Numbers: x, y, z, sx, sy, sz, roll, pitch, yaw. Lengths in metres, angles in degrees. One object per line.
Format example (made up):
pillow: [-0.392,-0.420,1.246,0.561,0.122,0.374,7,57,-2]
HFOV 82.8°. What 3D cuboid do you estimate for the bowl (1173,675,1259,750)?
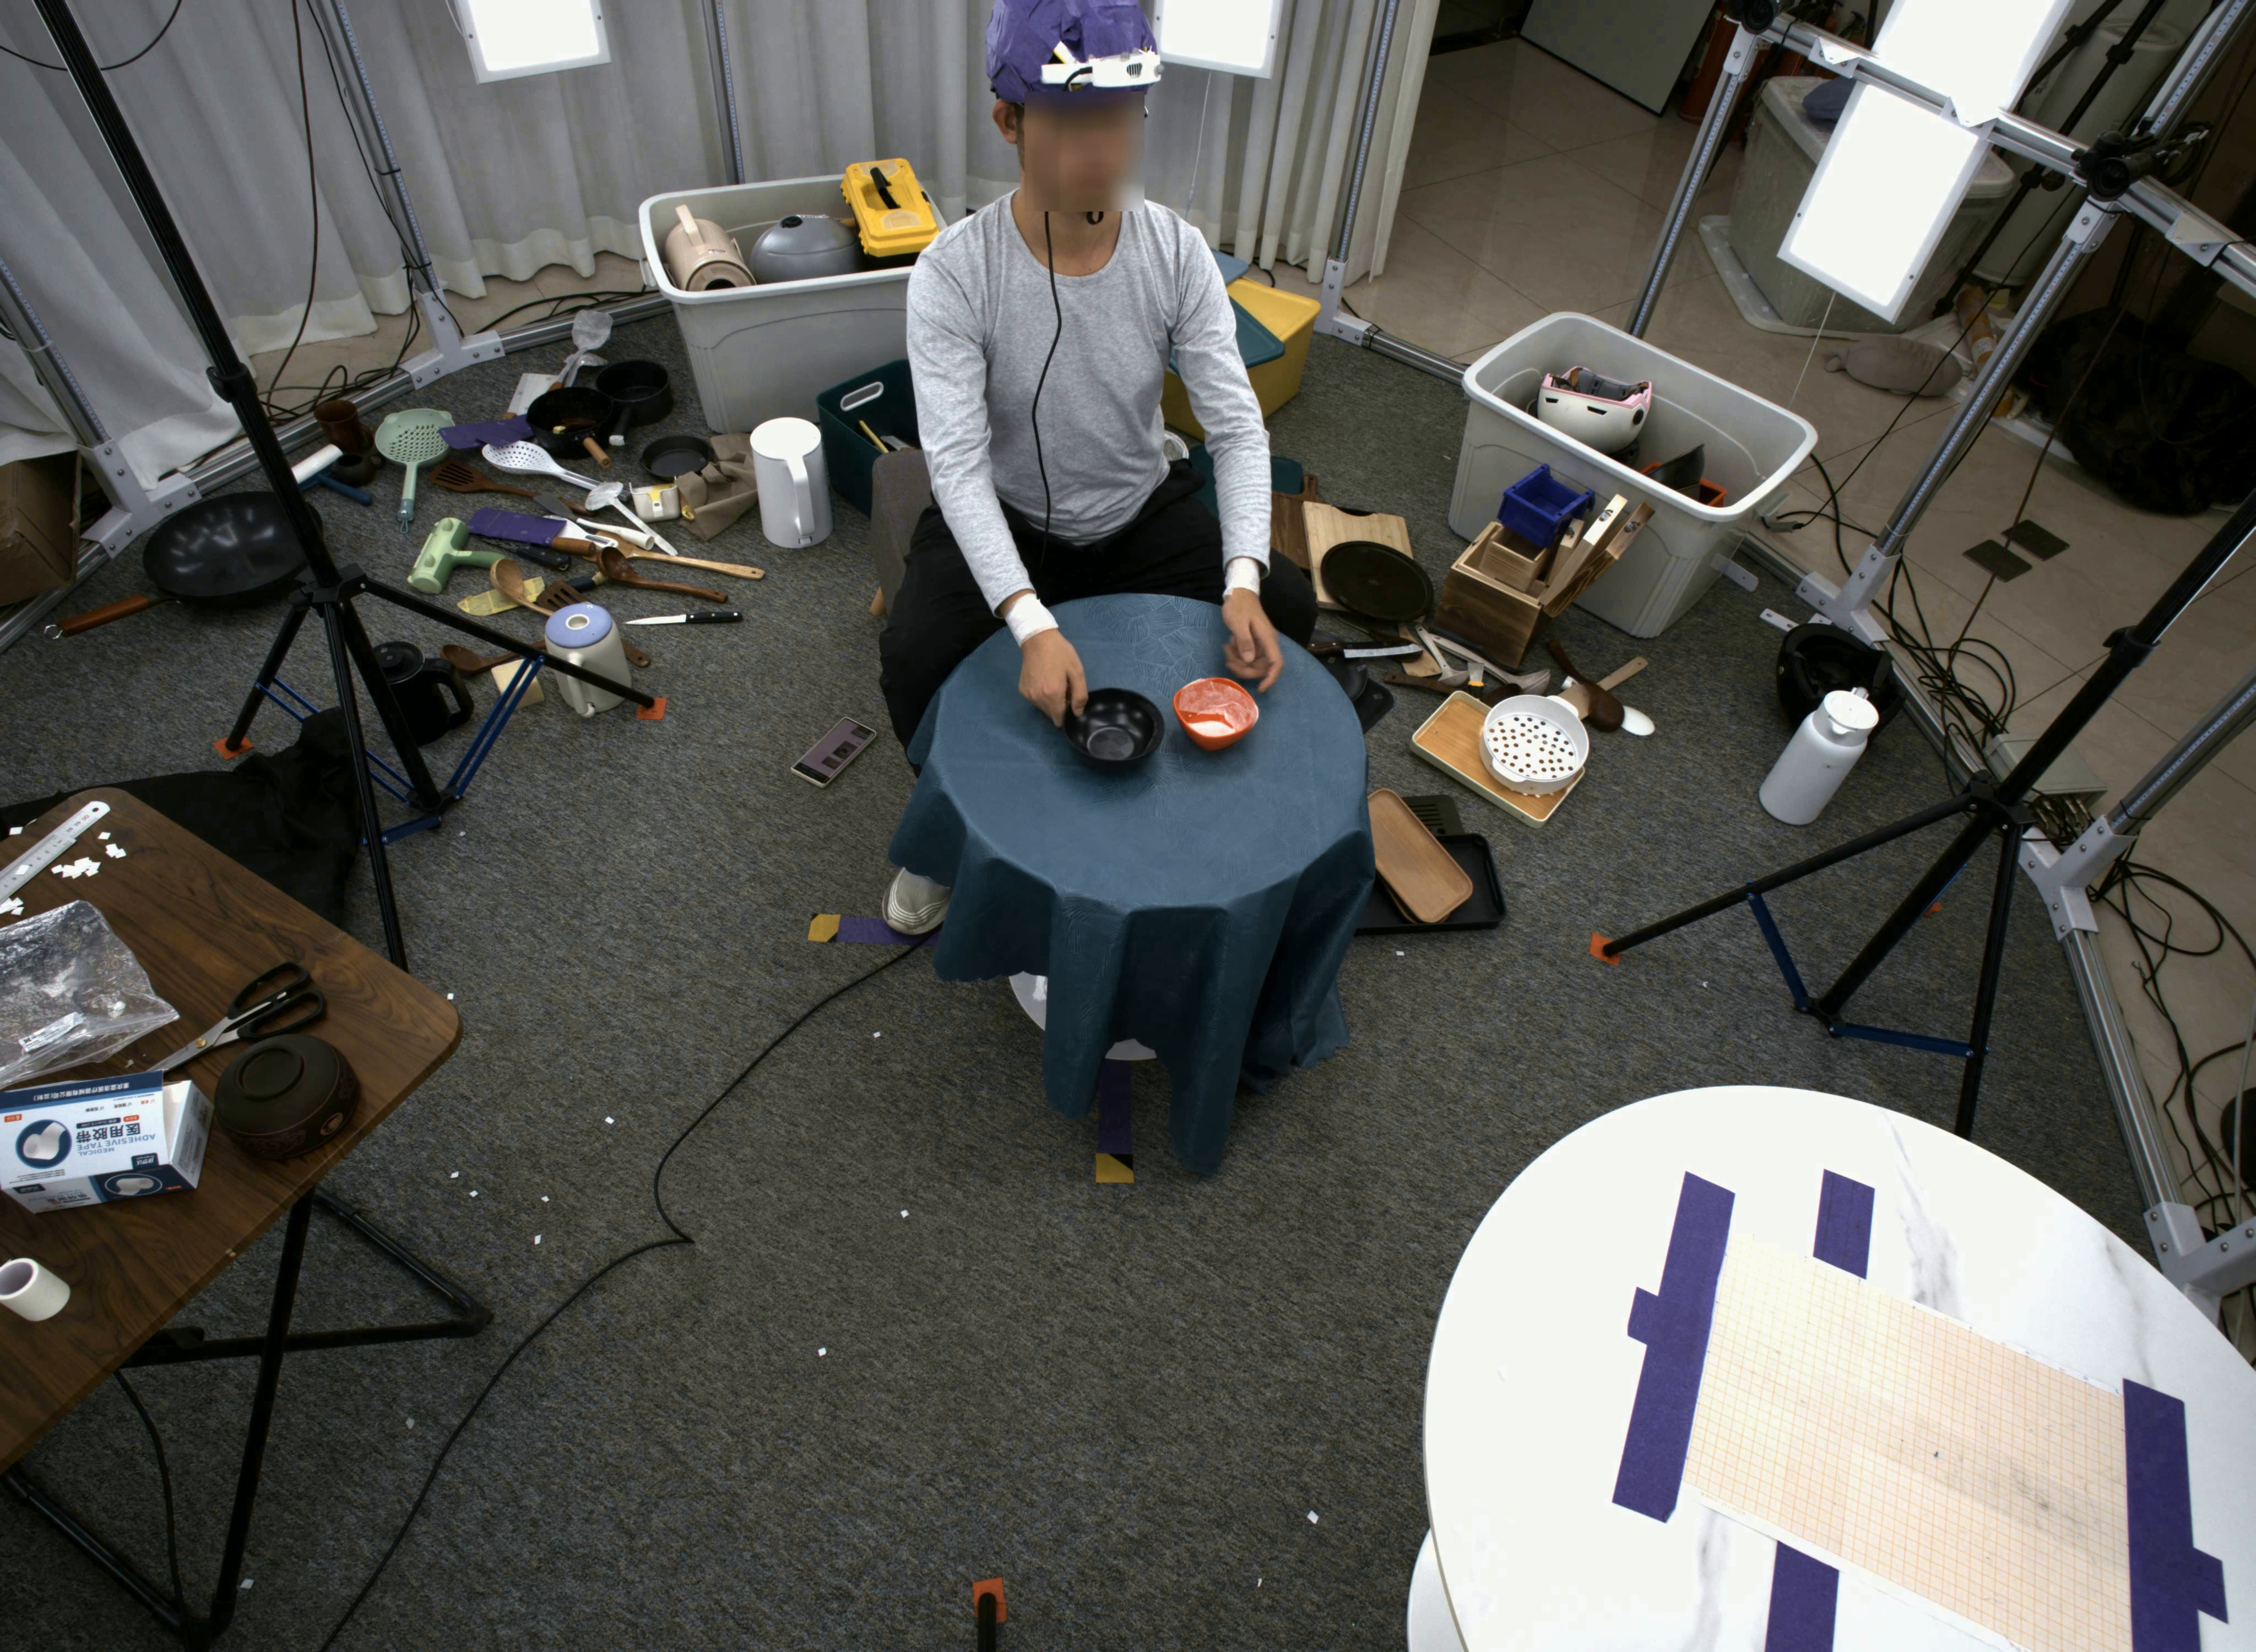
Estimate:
bowl: [0.119,-0.150,1.771,0.119,0.050,0.122,2,52,-2]

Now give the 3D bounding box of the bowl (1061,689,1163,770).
bowl: [-0.022,-0.122,1.742,0.140,0.048,0.143,2,46,-2]
